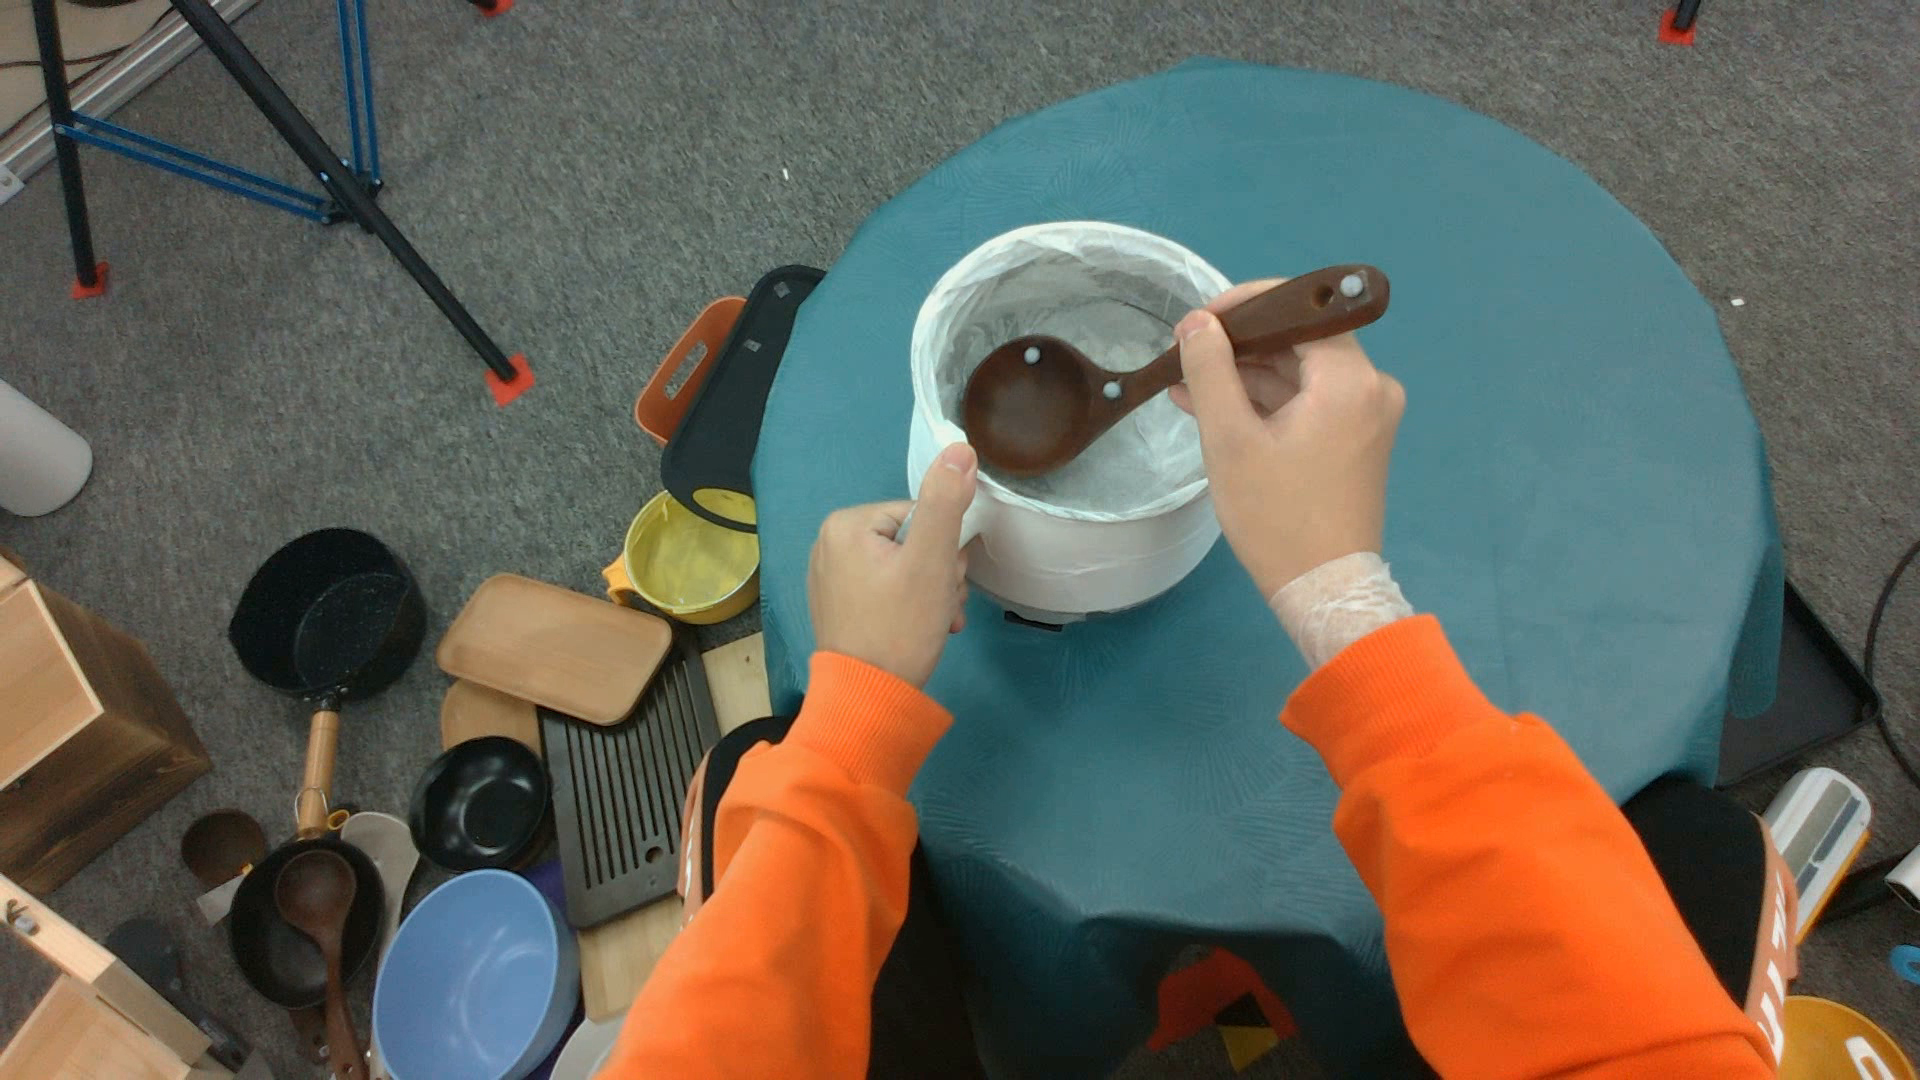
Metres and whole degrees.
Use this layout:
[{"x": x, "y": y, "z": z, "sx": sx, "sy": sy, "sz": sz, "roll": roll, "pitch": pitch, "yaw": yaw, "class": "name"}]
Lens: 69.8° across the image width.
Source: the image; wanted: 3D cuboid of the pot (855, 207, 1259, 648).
[{"x": 0.036, "y": -0.045, "z": 0.709, "sx": 0.179, "sy": 0.136, "sz": 0.234, "roll": 37, "pitch": 65, "yaw": 17, "class": "pot"}]

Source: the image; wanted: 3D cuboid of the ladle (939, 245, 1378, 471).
[{"x": 0.075, "y": -0.087, "z": 0.631, "sx": 0.065, "sy": 0.259, "sz": 0.076, "roll": 1, "pitch": 81, "yaw": -29, "class": "ladle"}]
